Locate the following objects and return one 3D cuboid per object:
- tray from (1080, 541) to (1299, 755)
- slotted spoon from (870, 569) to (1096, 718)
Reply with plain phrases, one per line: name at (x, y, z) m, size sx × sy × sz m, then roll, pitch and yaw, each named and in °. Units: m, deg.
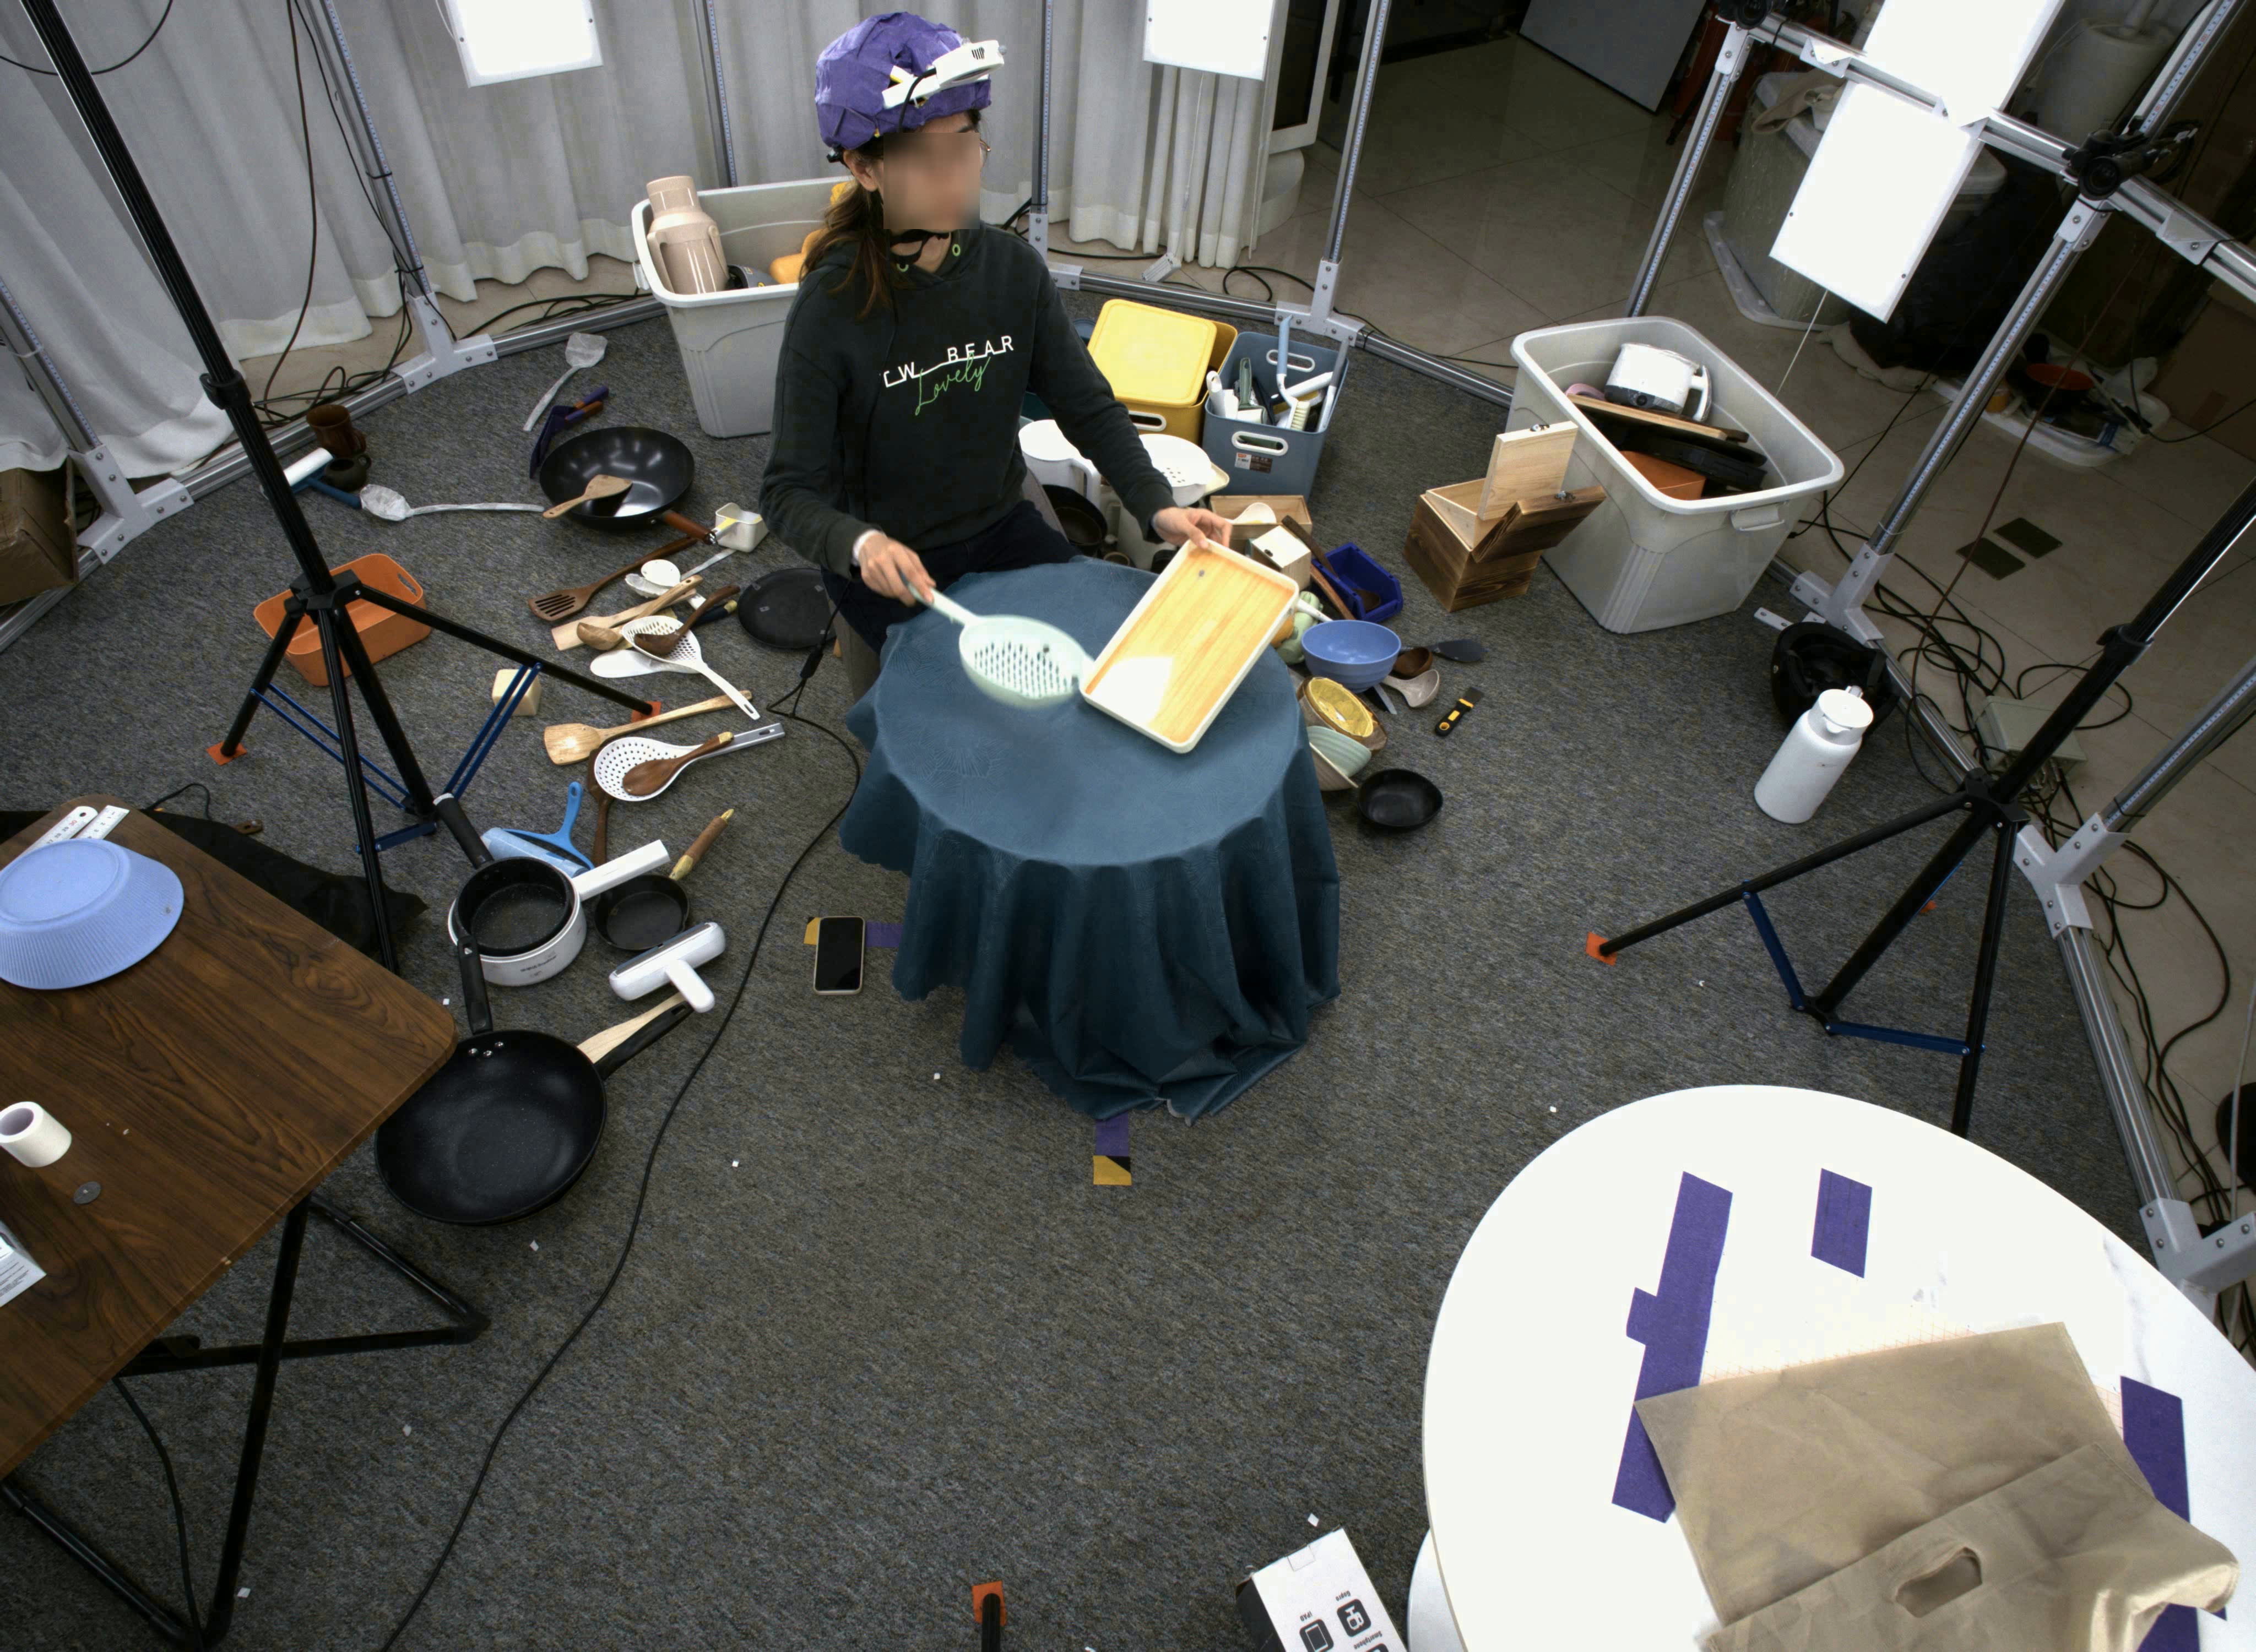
tray at (0.088, -0.257, 1.825) m, size 0.194 × 0.027 × 0.303 m, roll 31°, pitch 74°, yaw 23°
slotted spoon at (-0.209, -0.254, 1.695) m, size 0.363 × 0.074 × 0.171 m, roll 42°, pitch 42°, yaw 17°
